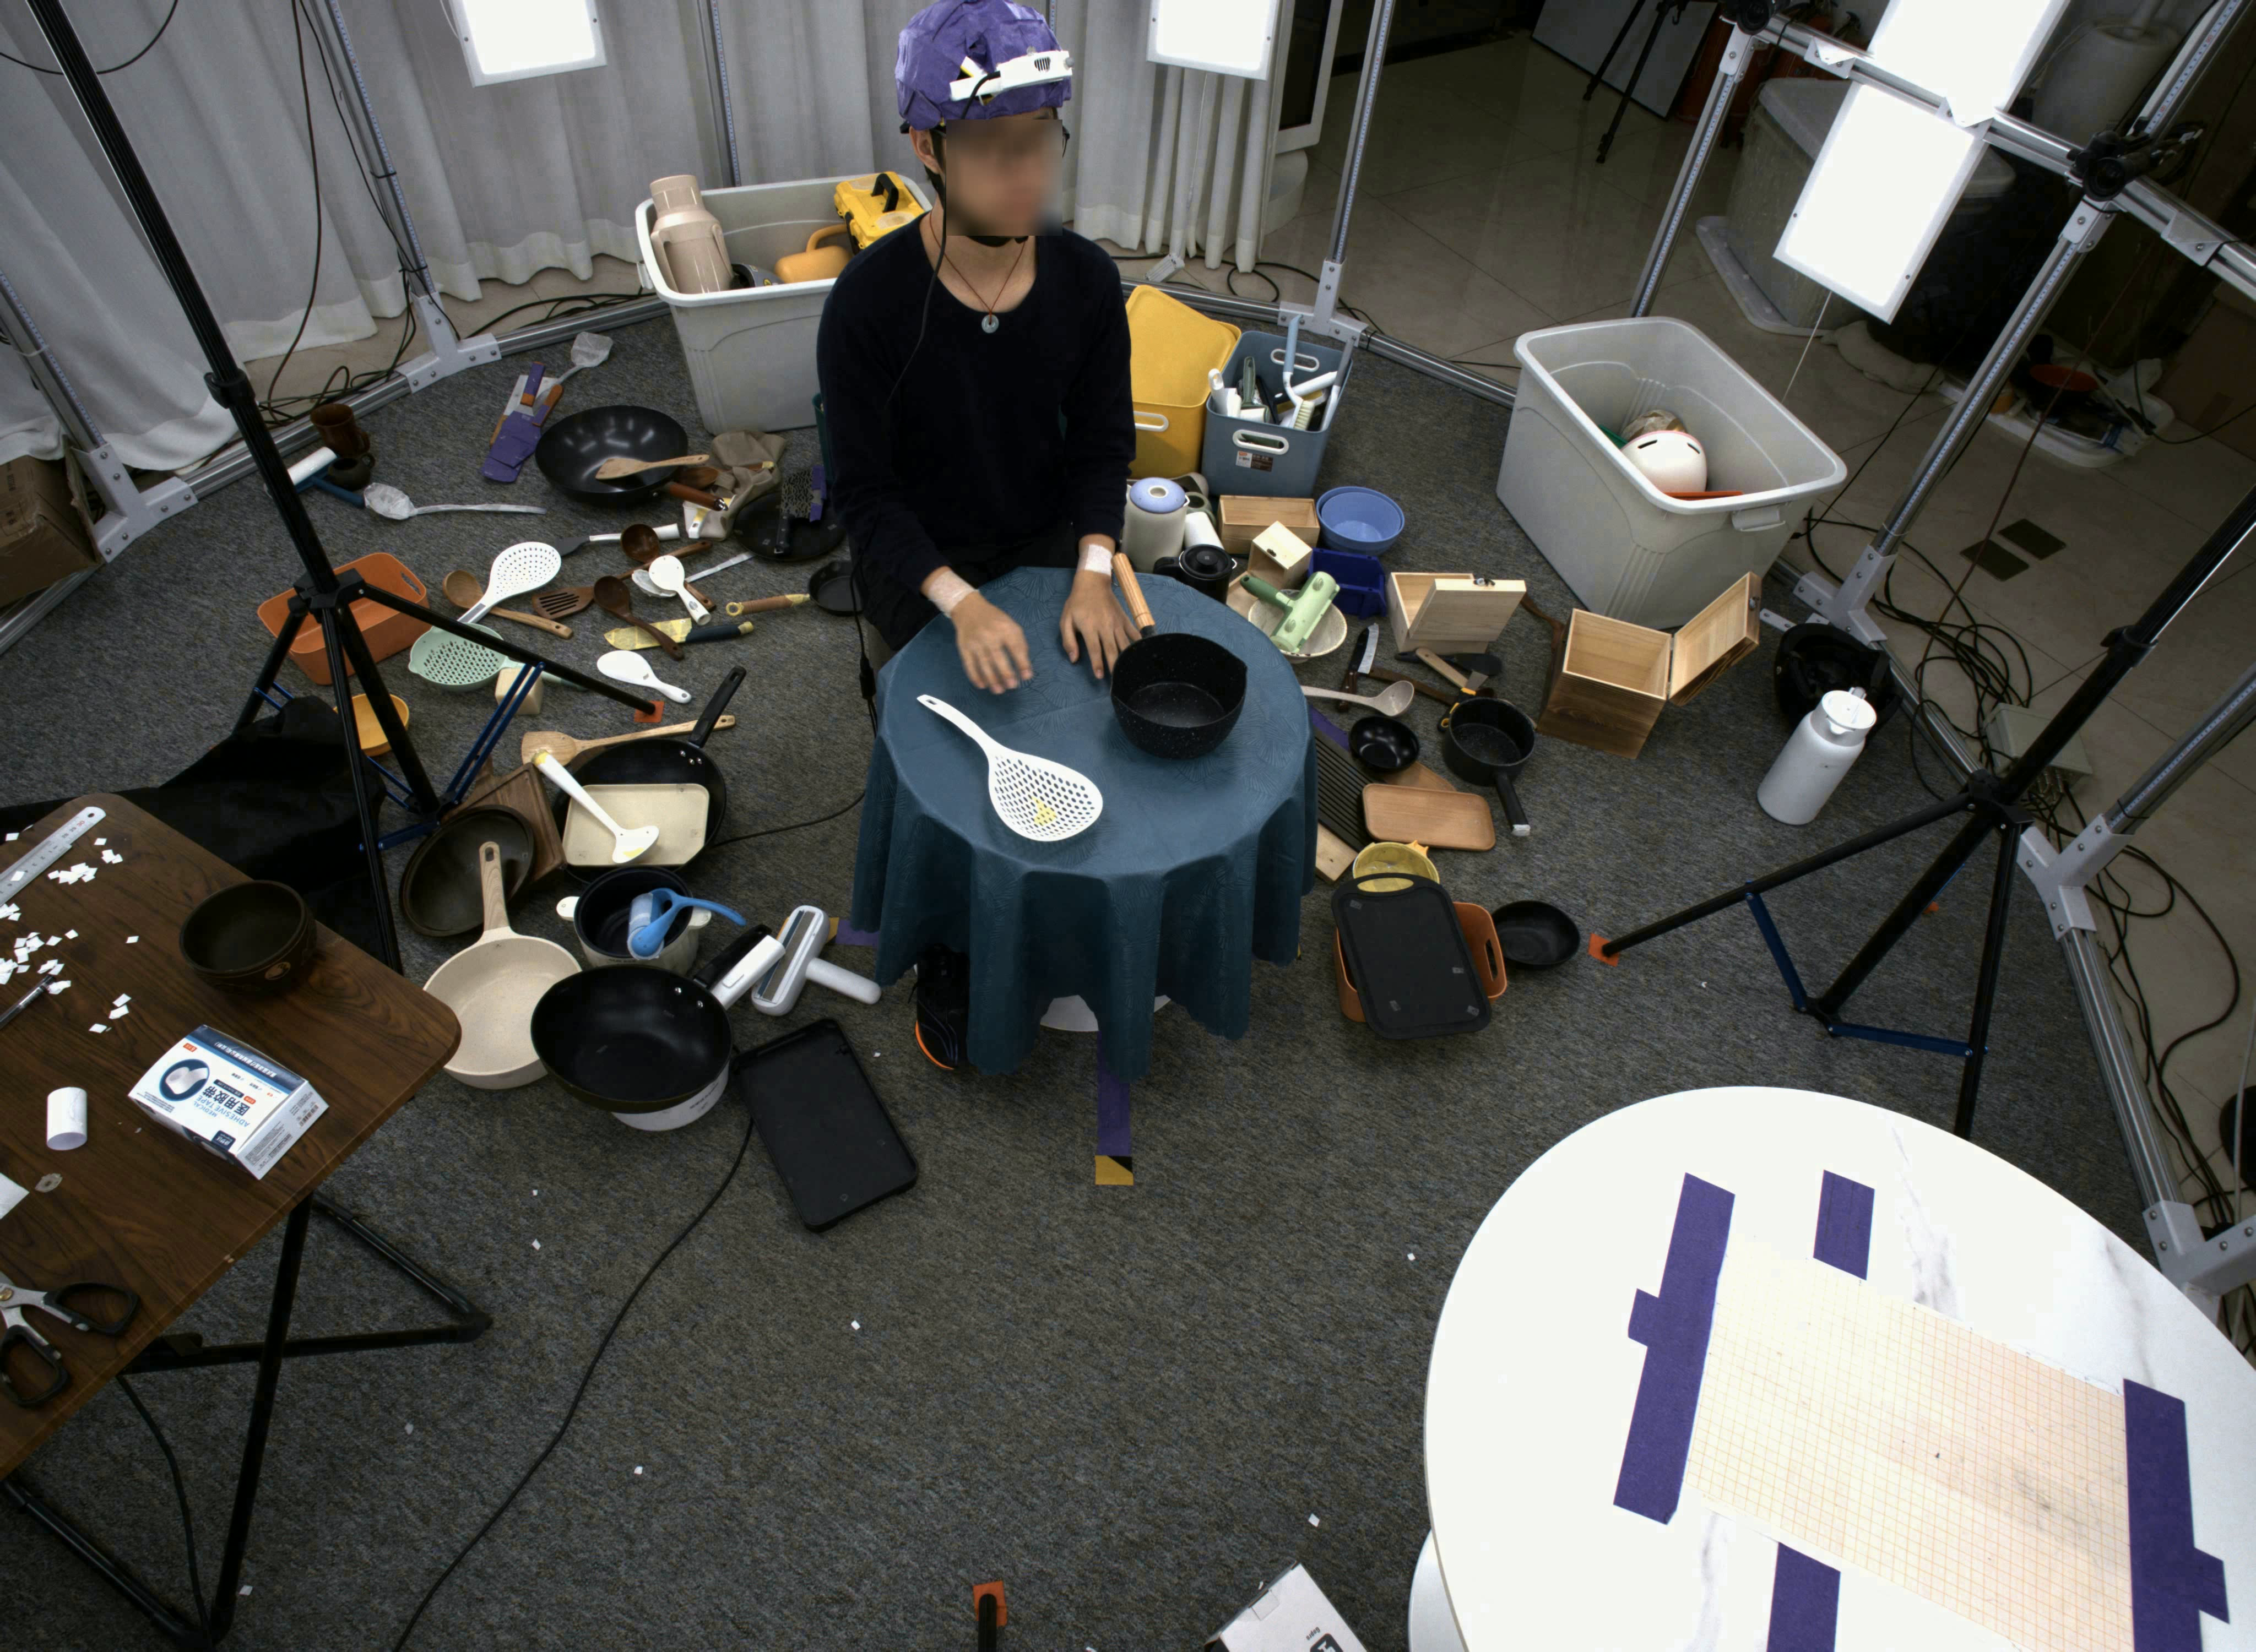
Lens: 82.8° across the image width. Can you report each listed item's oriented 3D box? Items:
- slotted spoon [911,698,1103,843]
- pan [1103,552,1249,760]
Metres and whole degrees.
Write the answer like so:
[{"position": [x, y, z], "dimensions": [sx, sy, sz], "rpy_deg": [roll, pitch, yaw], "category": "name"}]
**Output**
[{"position": [-0.176, -0.087, 1.705], "dimensions": [0.138, 0.049, 0.353], "rpy_deg": [-31, 59, -28], "category": "slotted spoon"}, {"position": [0.039, -0.240, 1.810], "dimensions": [0.207, 0.105, 0.351], "rpy_deg": [-15, 53, -15], "category": "pan"}]
